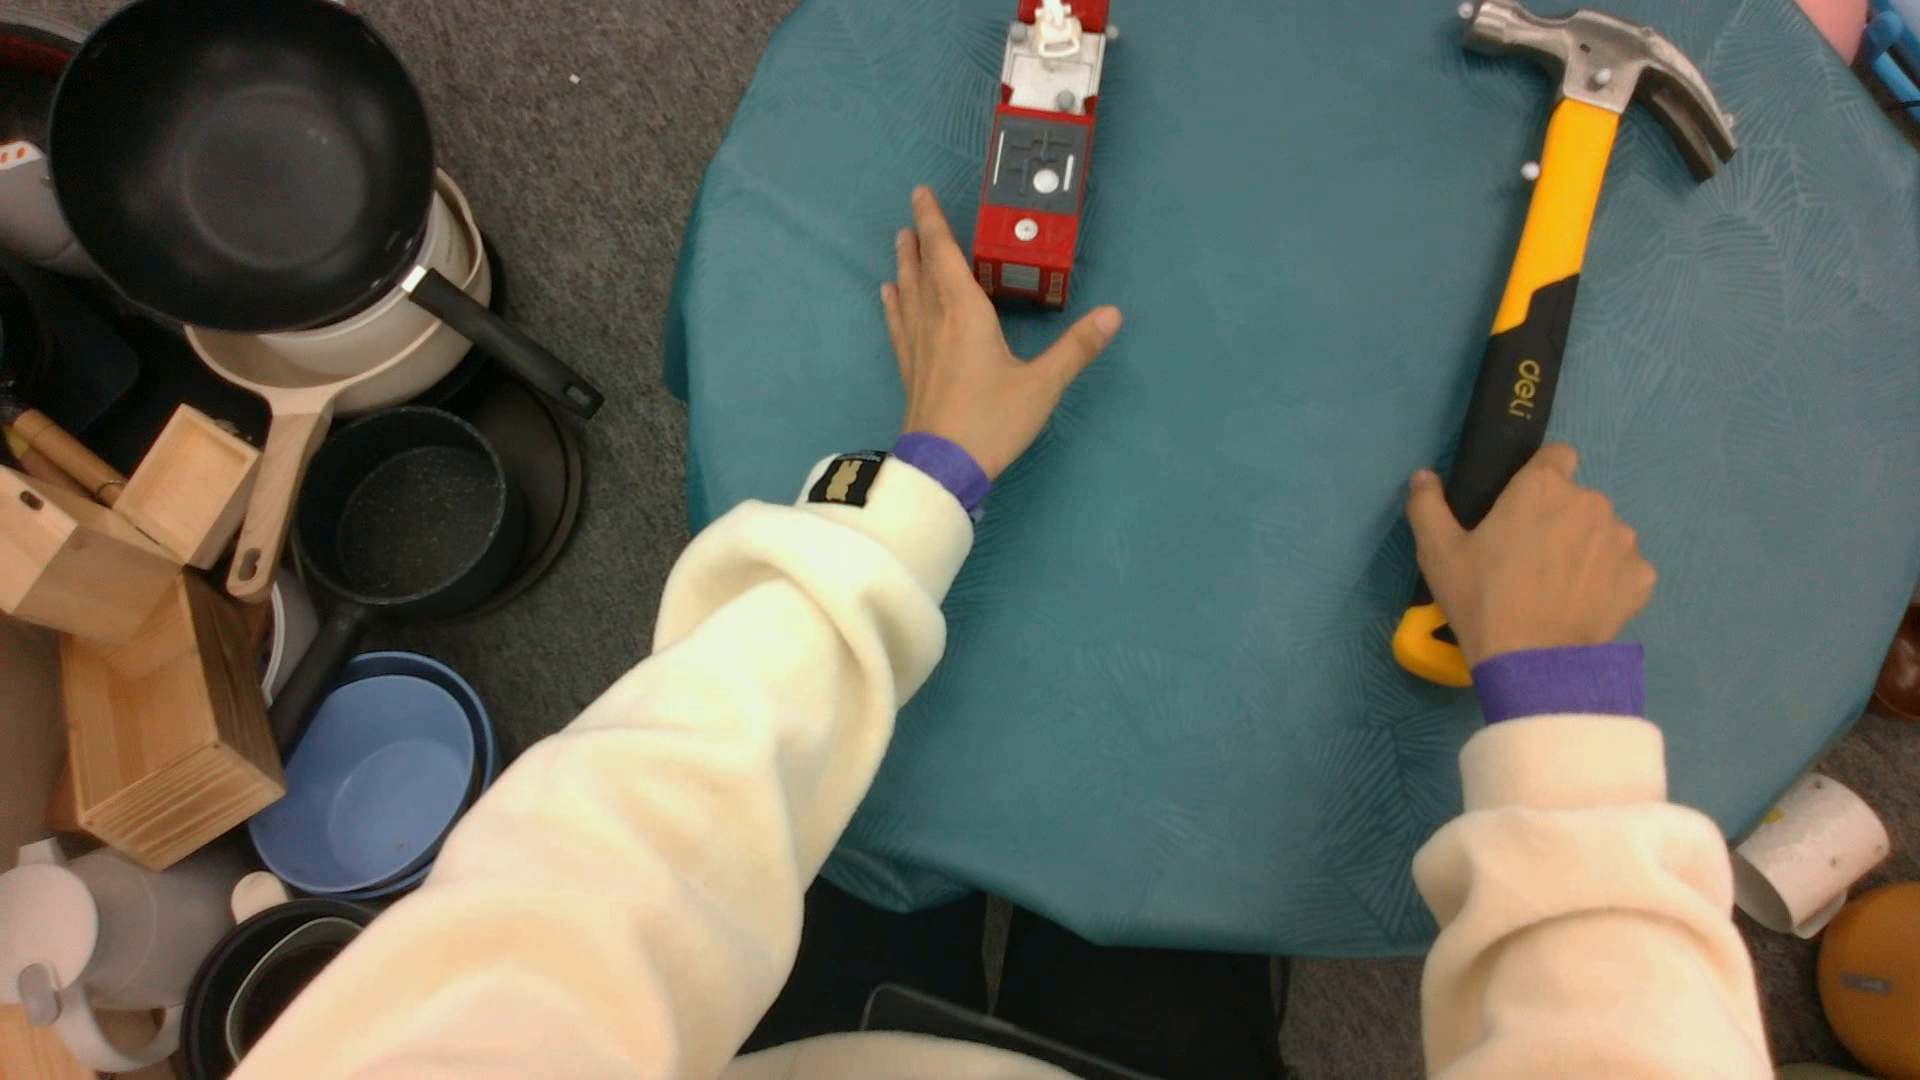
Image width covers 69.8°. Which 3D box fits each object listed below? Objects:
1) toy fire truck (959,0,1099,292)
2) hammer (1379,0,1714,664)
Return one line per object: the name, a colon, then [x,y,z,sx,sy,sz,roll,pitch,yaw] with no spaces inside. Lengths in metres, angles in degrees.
toy fire truck: [0.033,-0.204,0.651,0.054,0.070,0.168,8,79,3]
hammer: [0.255,-0.105,0.637,0.131,0.032,0.339,19,77,3]
